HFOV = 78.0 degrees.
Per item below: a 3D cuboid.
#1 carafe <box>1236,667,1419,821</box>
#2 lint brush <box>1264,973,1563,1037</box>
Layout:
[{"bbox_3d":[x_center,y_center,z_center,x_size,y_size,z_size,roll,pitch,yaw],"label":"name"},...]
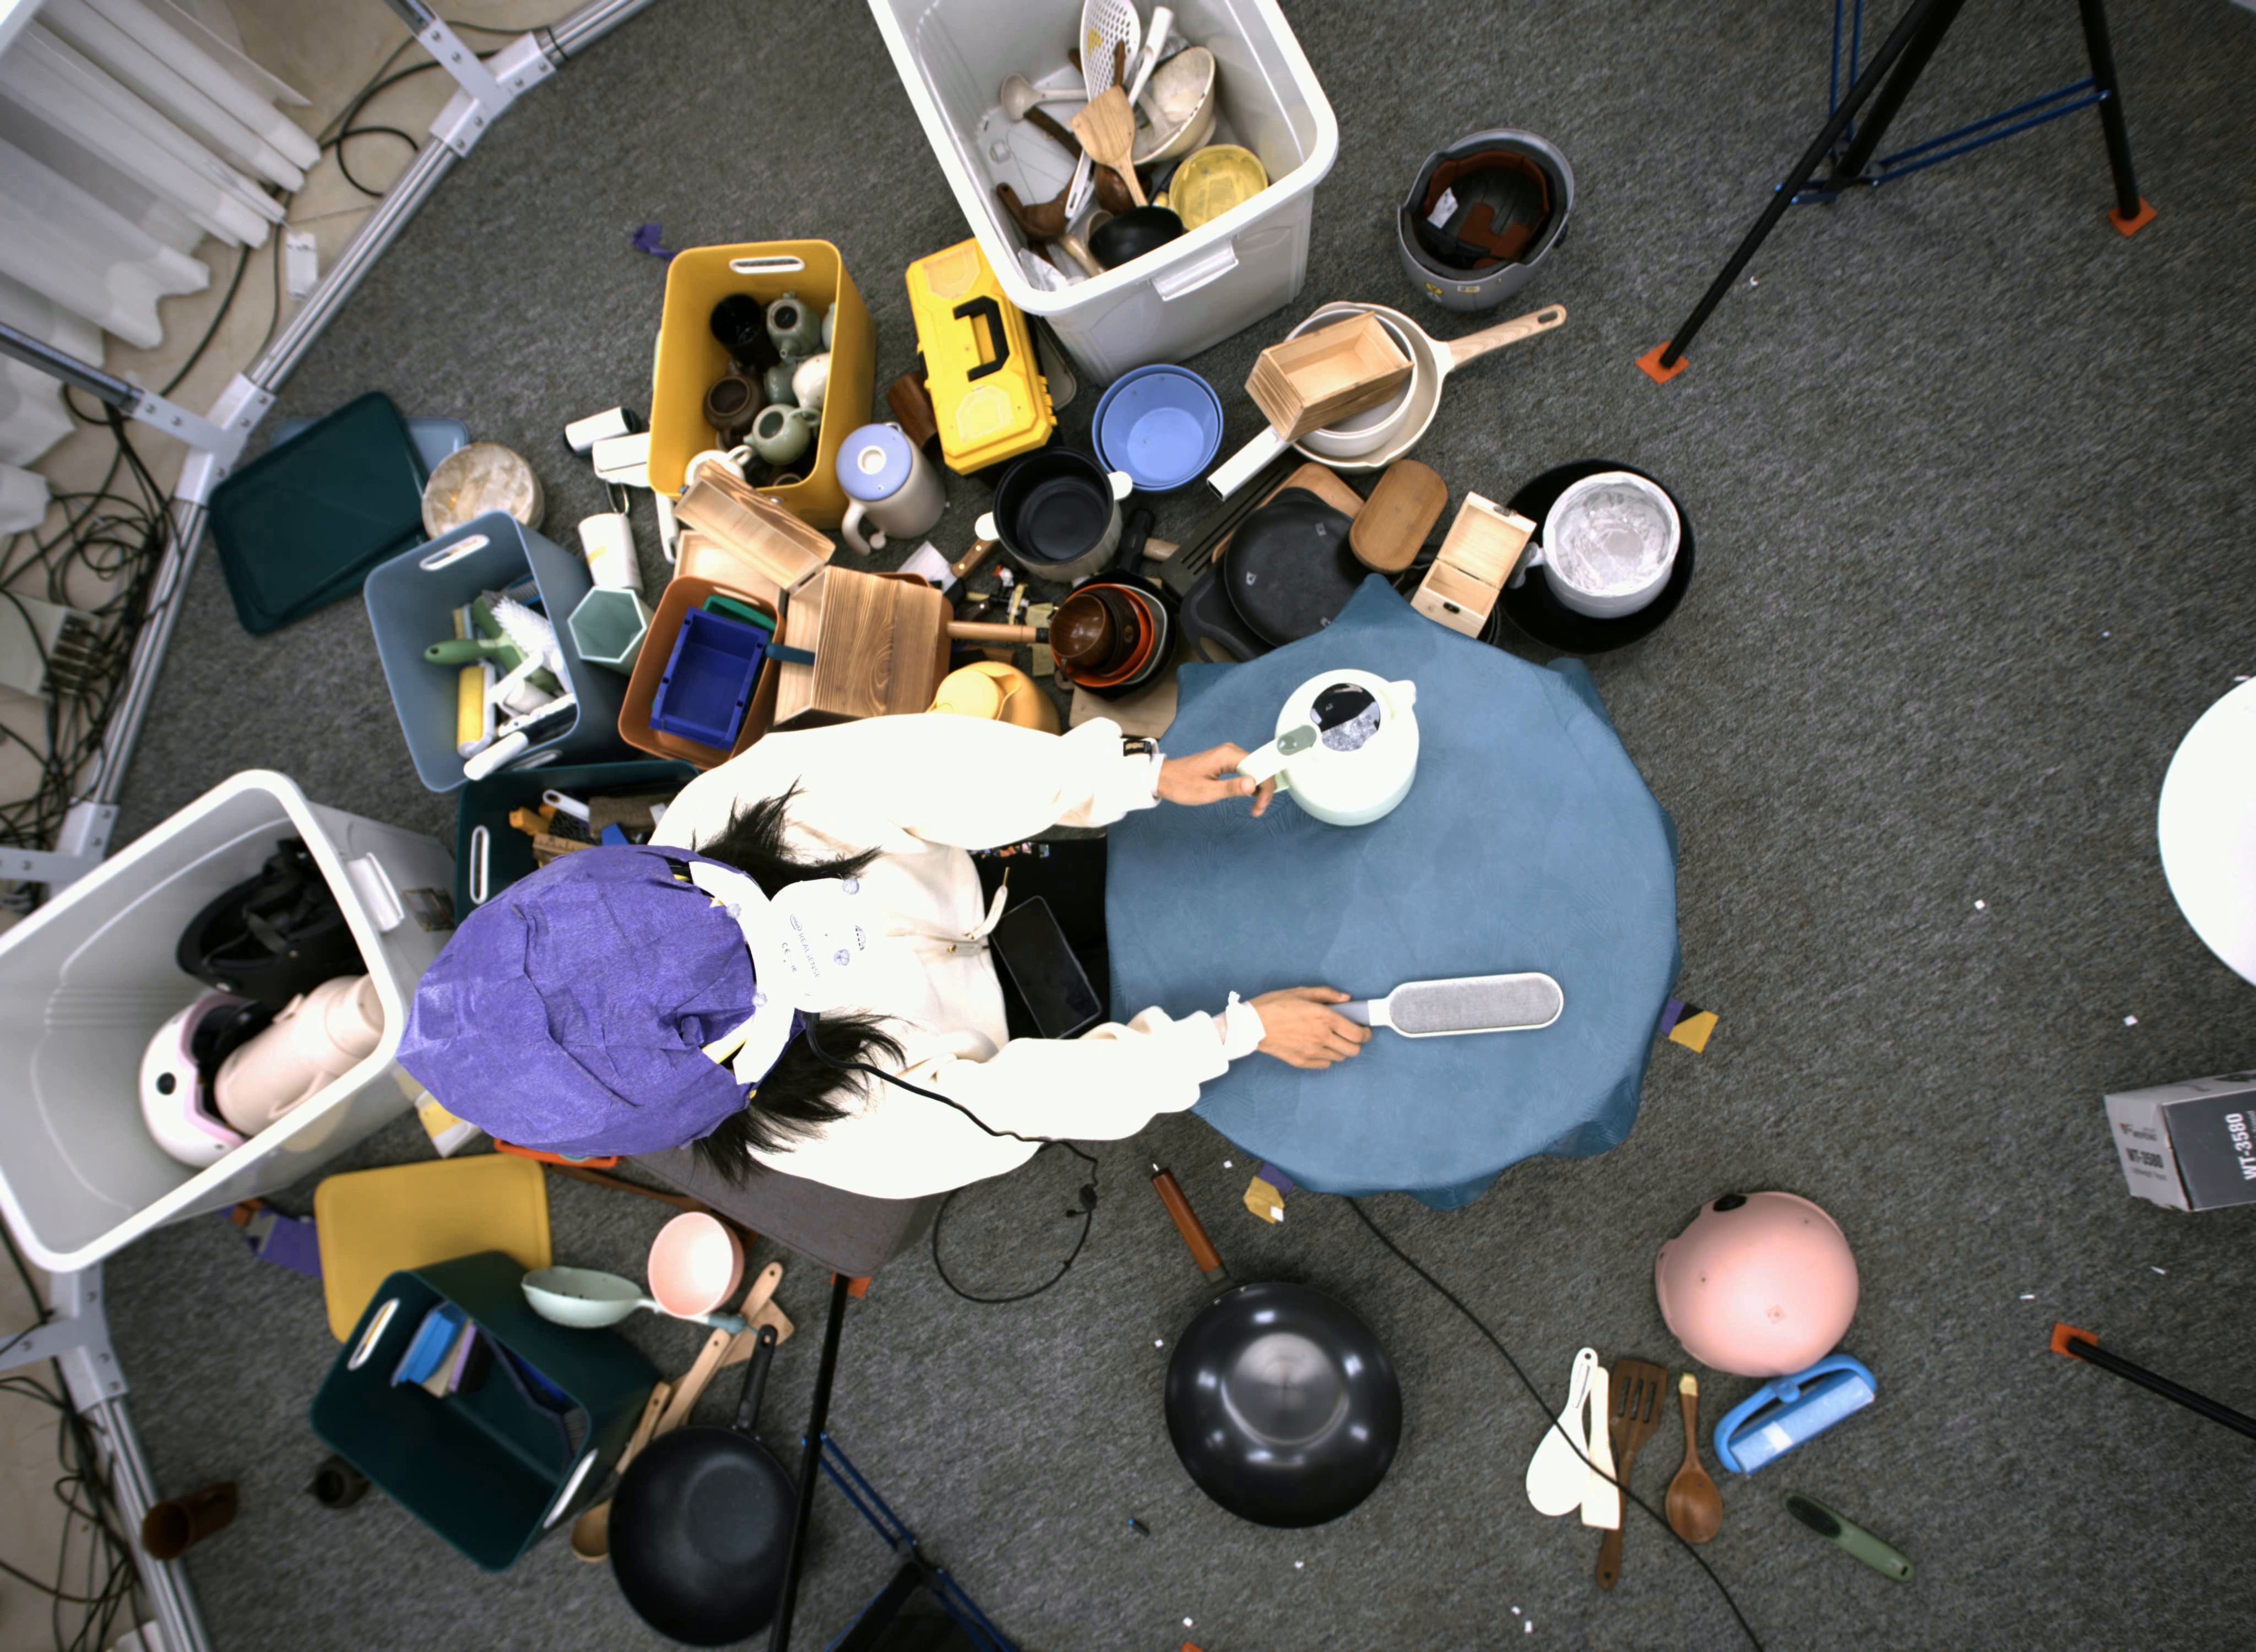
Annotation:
[{"bbox_3d":[0.202,-0.080,1.355,0.188,0.256,0.143,-25,82,11],"label":"carafe"},{"bbox_3d":[0.295,0.188,1.436,0.310,0.021,0.060,-6,87,10],"label":"lint brush"}]
